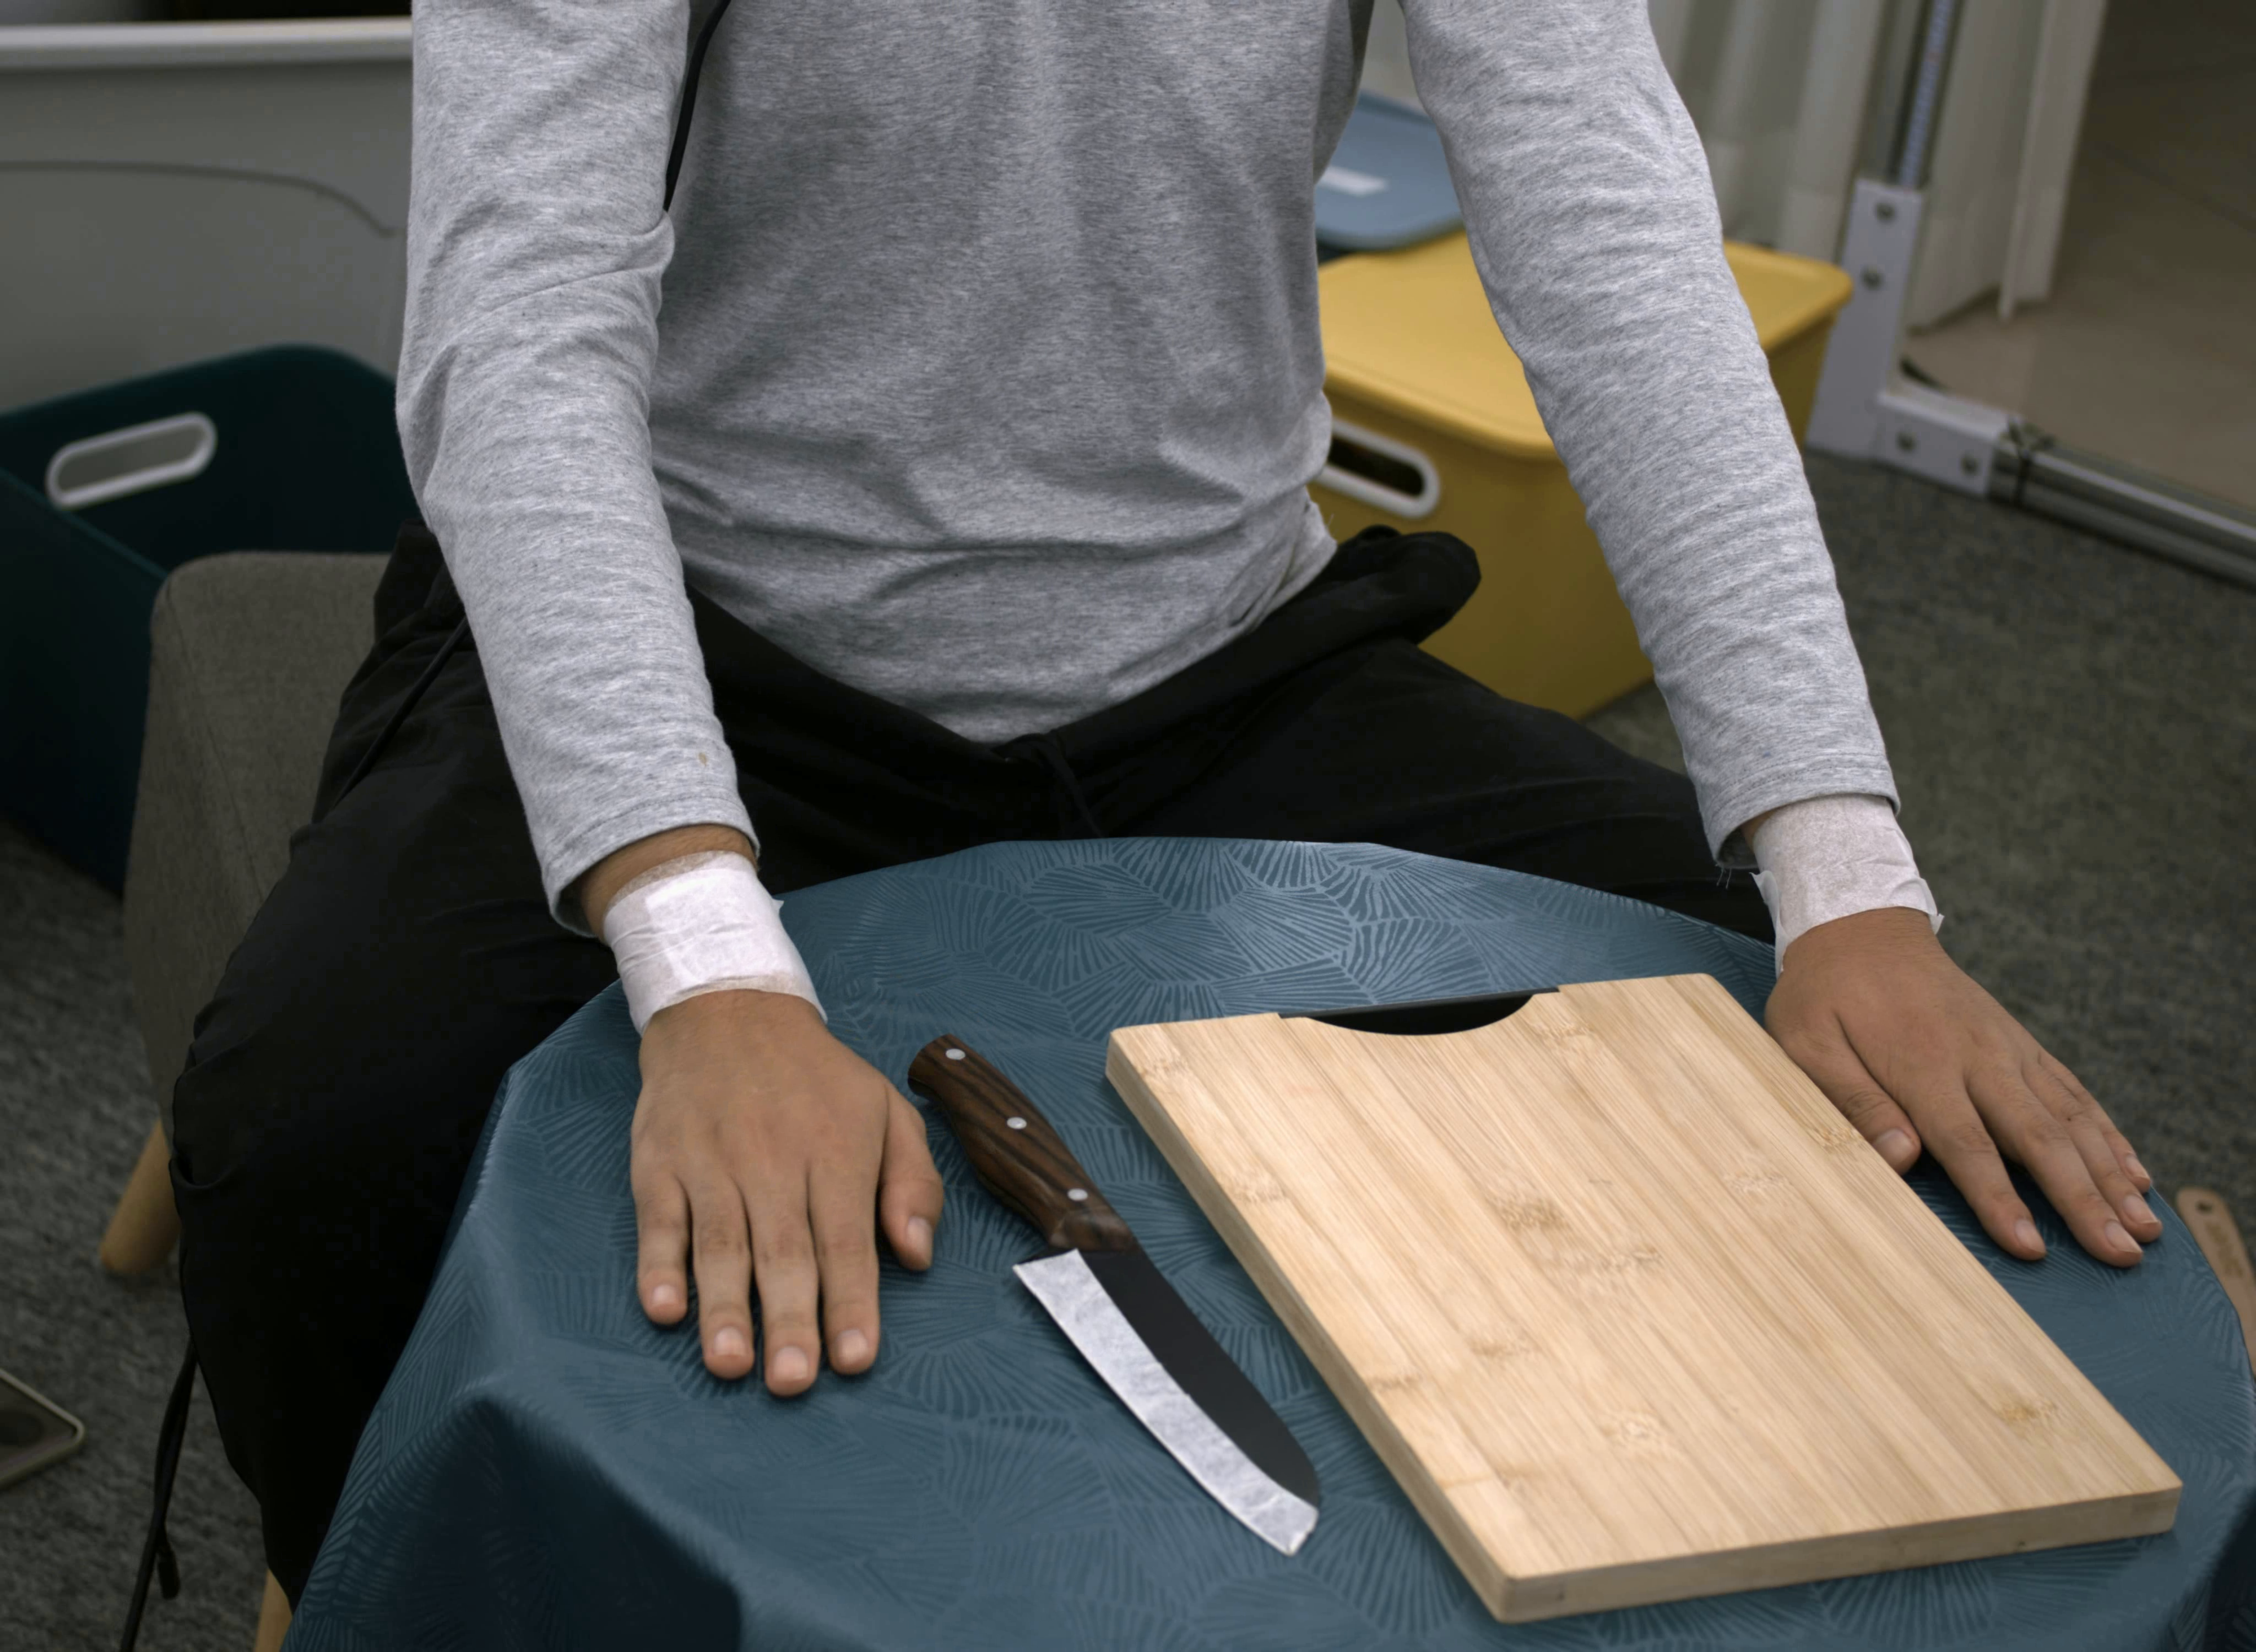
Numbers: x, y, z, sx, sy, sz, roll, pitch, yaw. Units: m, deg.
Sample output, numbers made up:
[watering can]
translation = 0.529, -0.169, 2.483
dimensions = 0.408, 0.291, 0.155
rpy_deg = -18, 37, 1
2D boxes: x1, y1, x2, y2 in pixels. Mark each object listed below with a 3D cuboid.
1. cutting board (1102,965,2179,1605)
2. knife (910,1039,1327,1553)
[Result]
[cutting board]
translation = 0.161, 0.146, 1.781
dimensions = 0.249, 0.023, 0.352
rpy_deg = -4, 29, -22
[knife]
translation = -0.007, 0.151, 1.734
dimensions = 0.050, 0.020, 0.292
rpy_deg = -11, 34, -22
